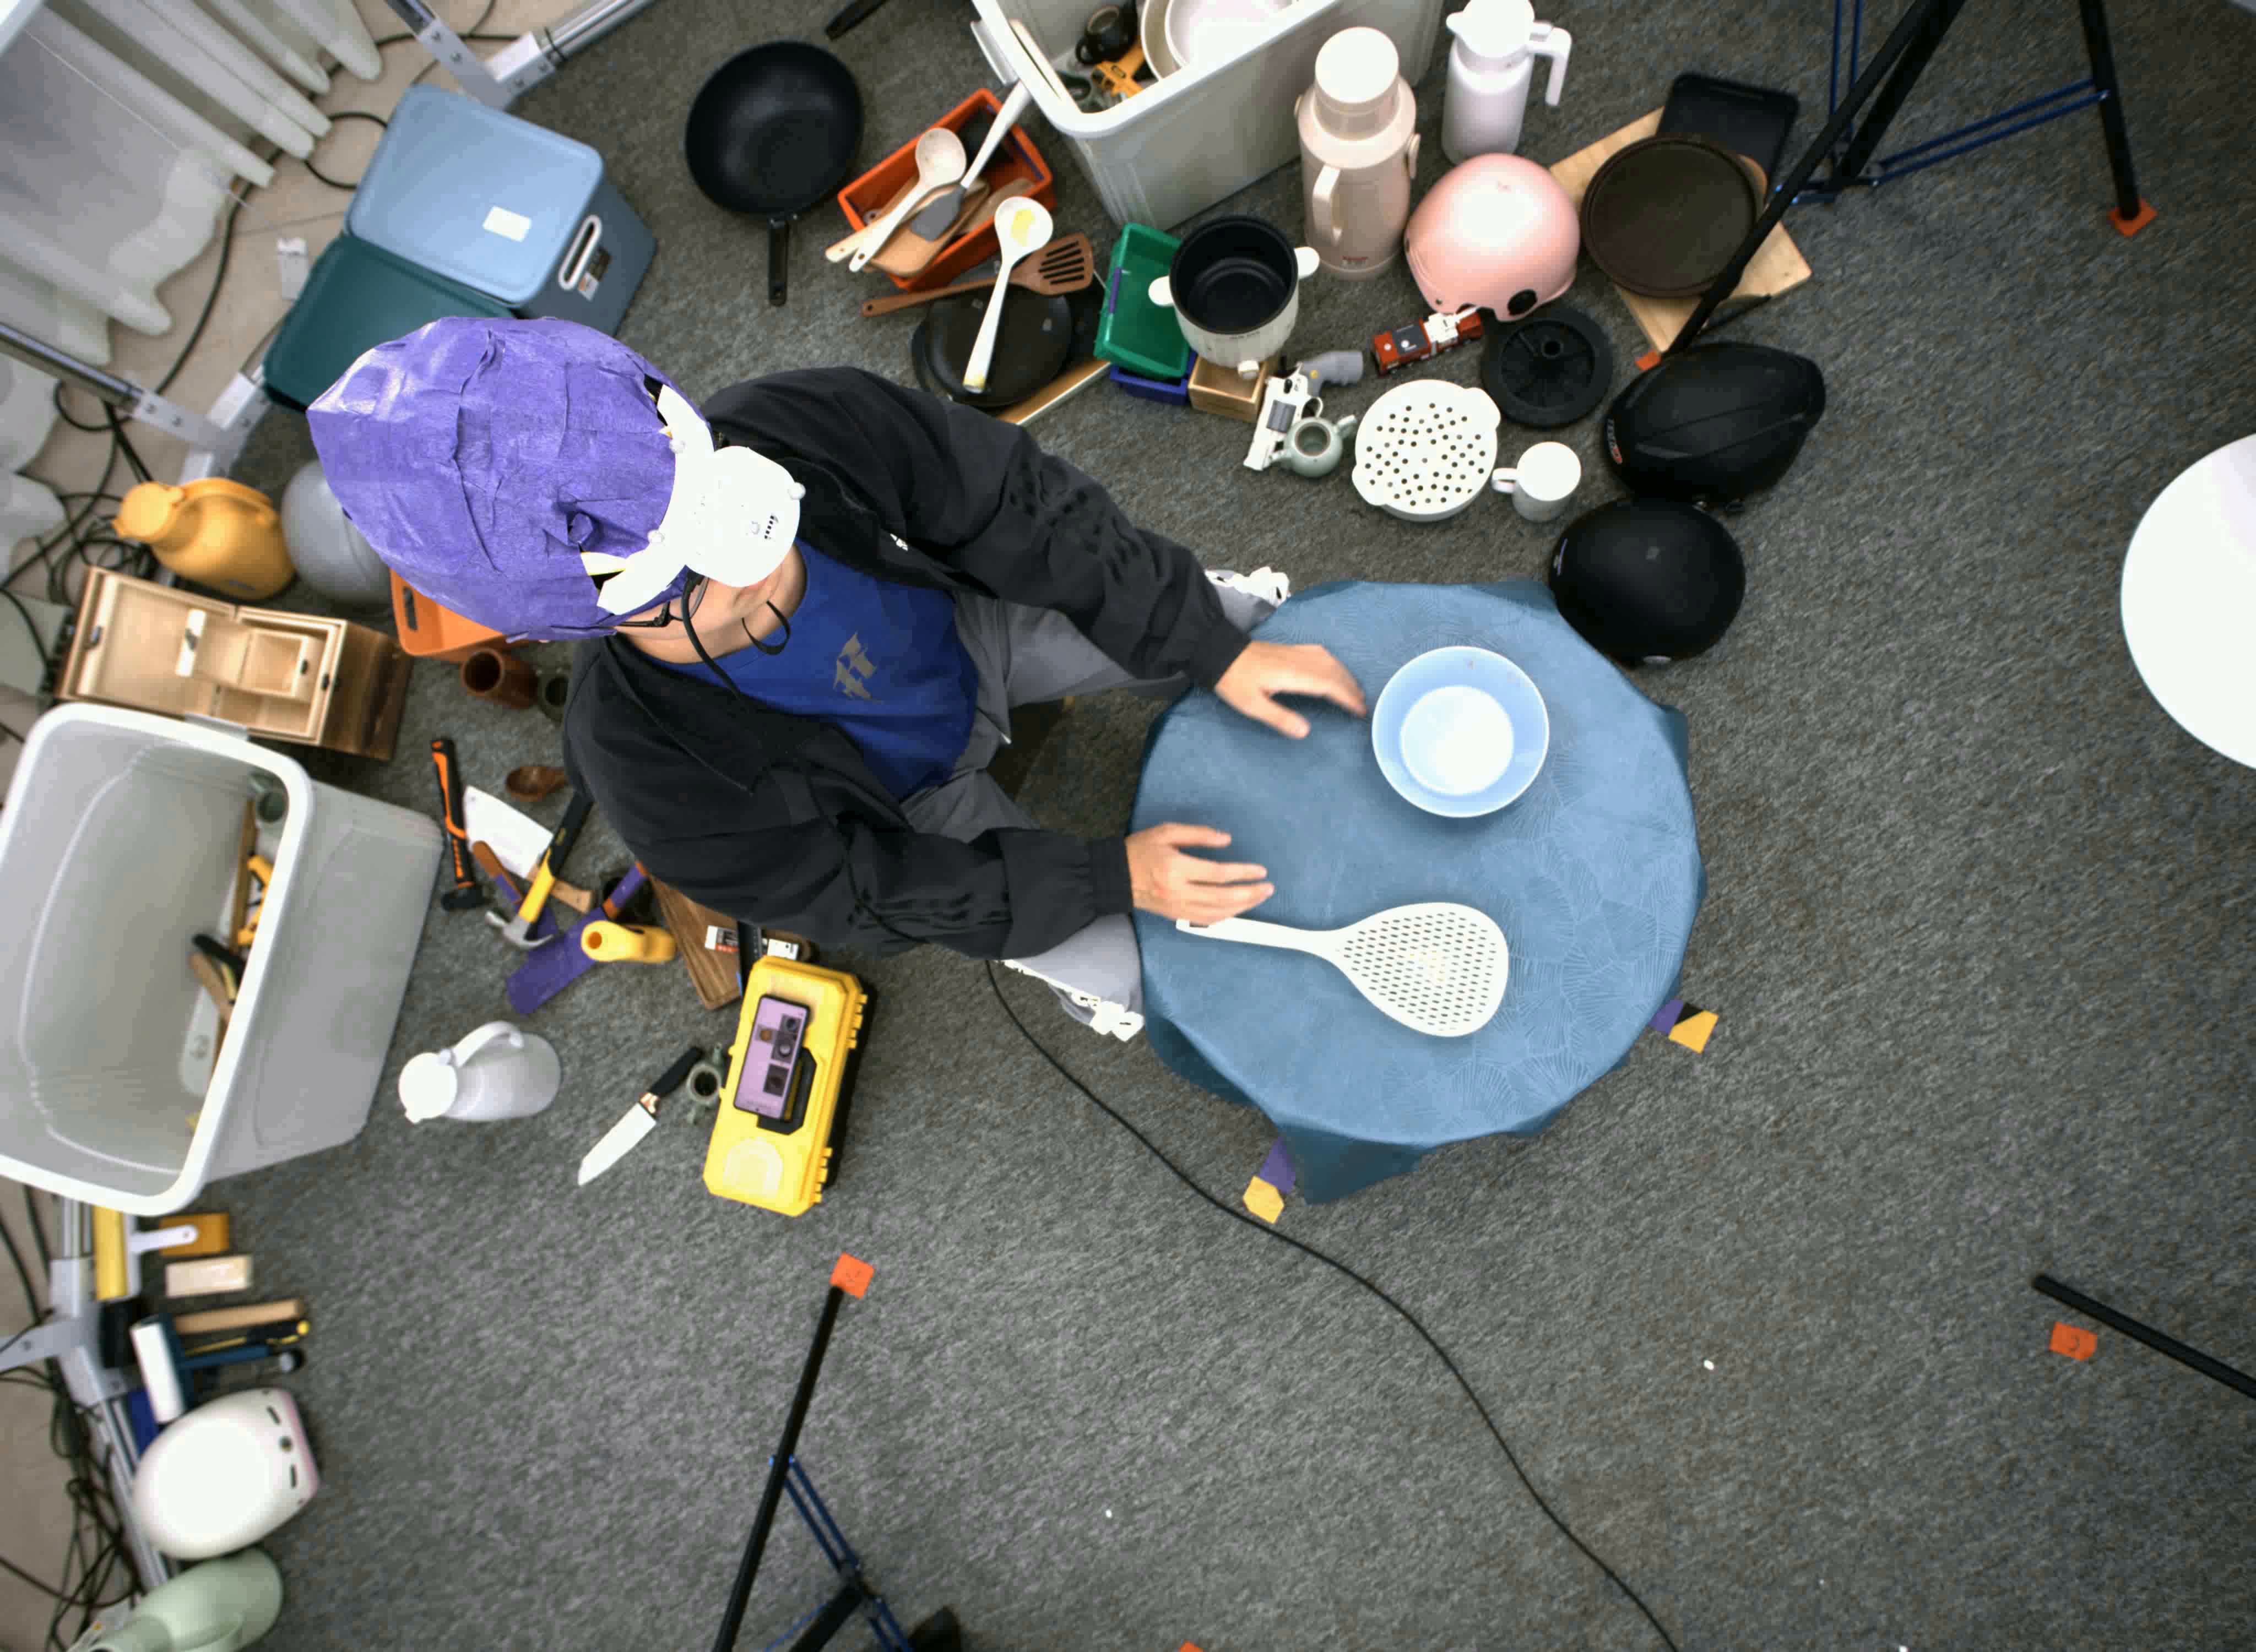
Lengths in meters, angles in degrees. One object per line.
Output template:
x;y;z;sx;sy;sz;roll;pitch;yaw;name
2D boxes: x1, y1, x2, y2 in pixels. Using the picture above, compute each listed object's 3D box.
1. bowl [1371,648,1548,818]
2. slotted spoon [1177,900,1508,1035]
0.340;-0.094;1.418;0.177;0.070;0.175;-1;86;11;bowl
0.218;0.127;1.444;0.349;0.050;0.137;9;92;12;slotted spoon
